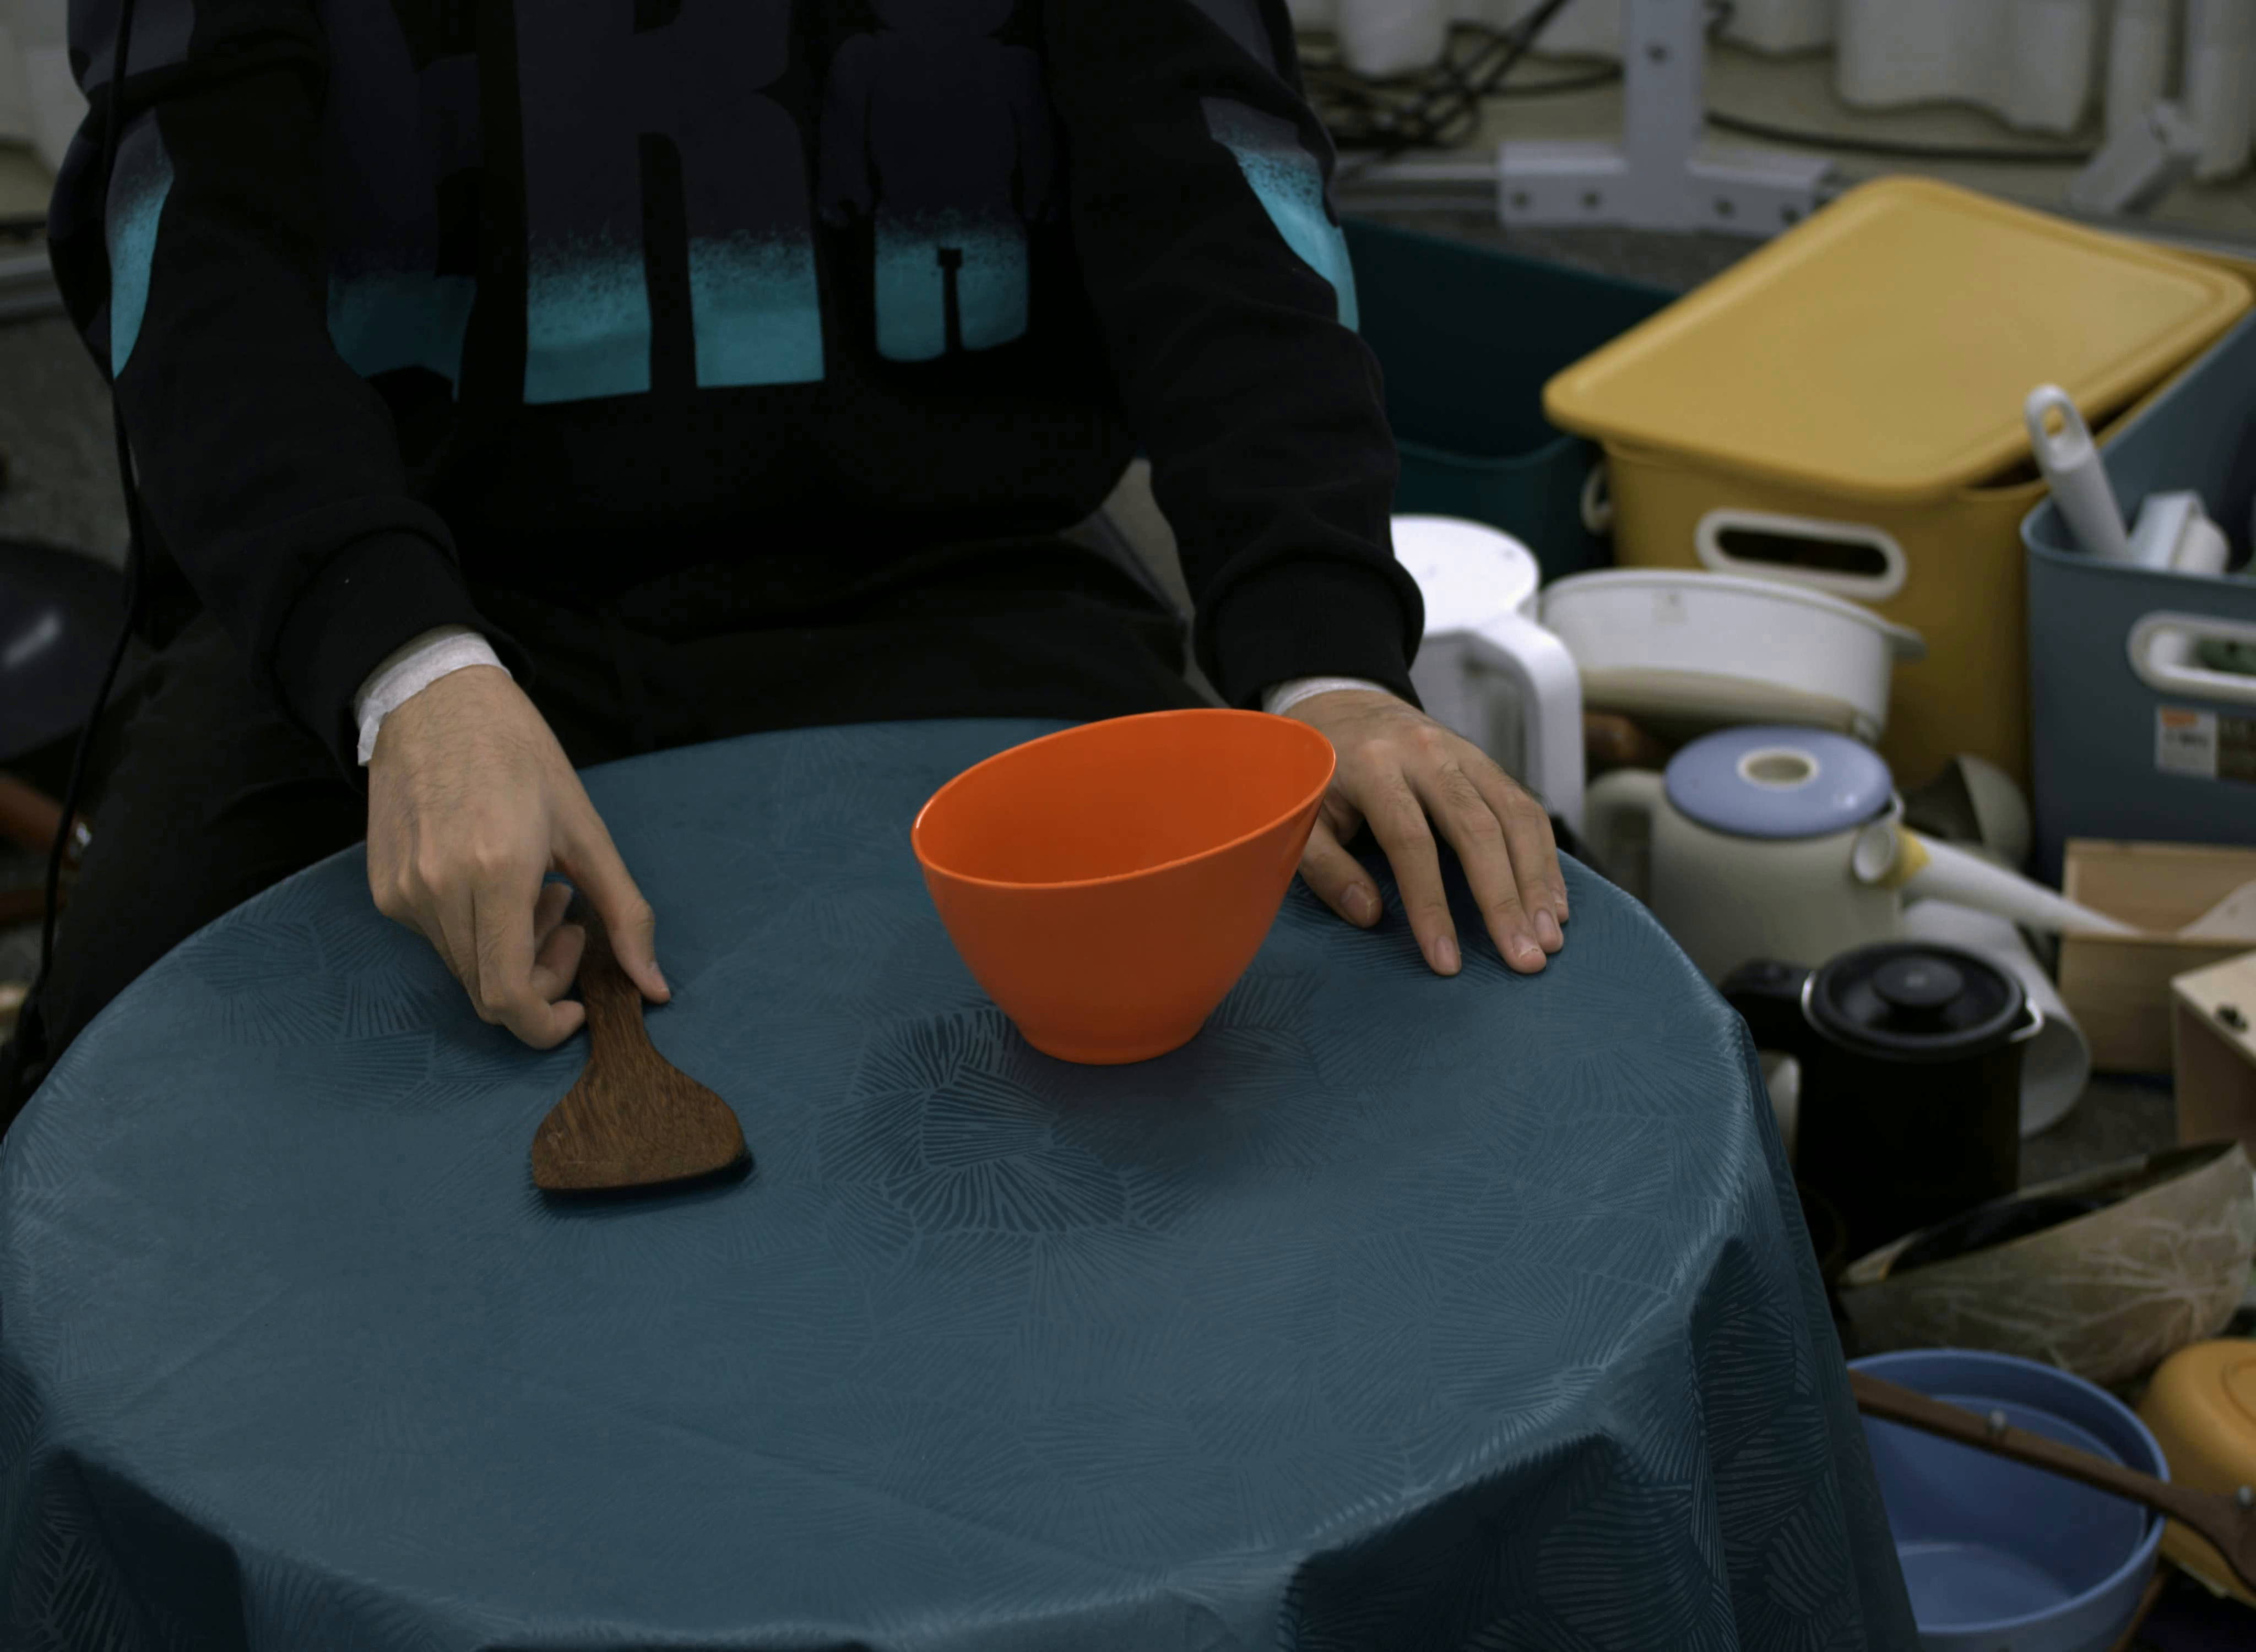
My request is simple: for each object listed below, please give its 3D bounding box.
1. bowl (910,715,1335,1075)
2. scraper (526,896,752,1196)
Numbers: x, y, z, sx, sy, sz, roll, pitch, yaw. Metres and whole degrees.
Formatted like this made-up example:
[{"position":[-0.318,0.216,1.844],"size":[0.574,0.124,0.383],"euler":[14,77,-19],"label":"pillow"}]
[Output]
[{"position":[0.001,0.028,1.937],"size":[0.147,0.103,0.150],"euler":[-4,26,2],"label":"bowl"},{"position":[-0.177,0.076,1.958],"size":[0.075,0.011,0.214],"euler":[-5,27,-7],"label":"scraper"}]
